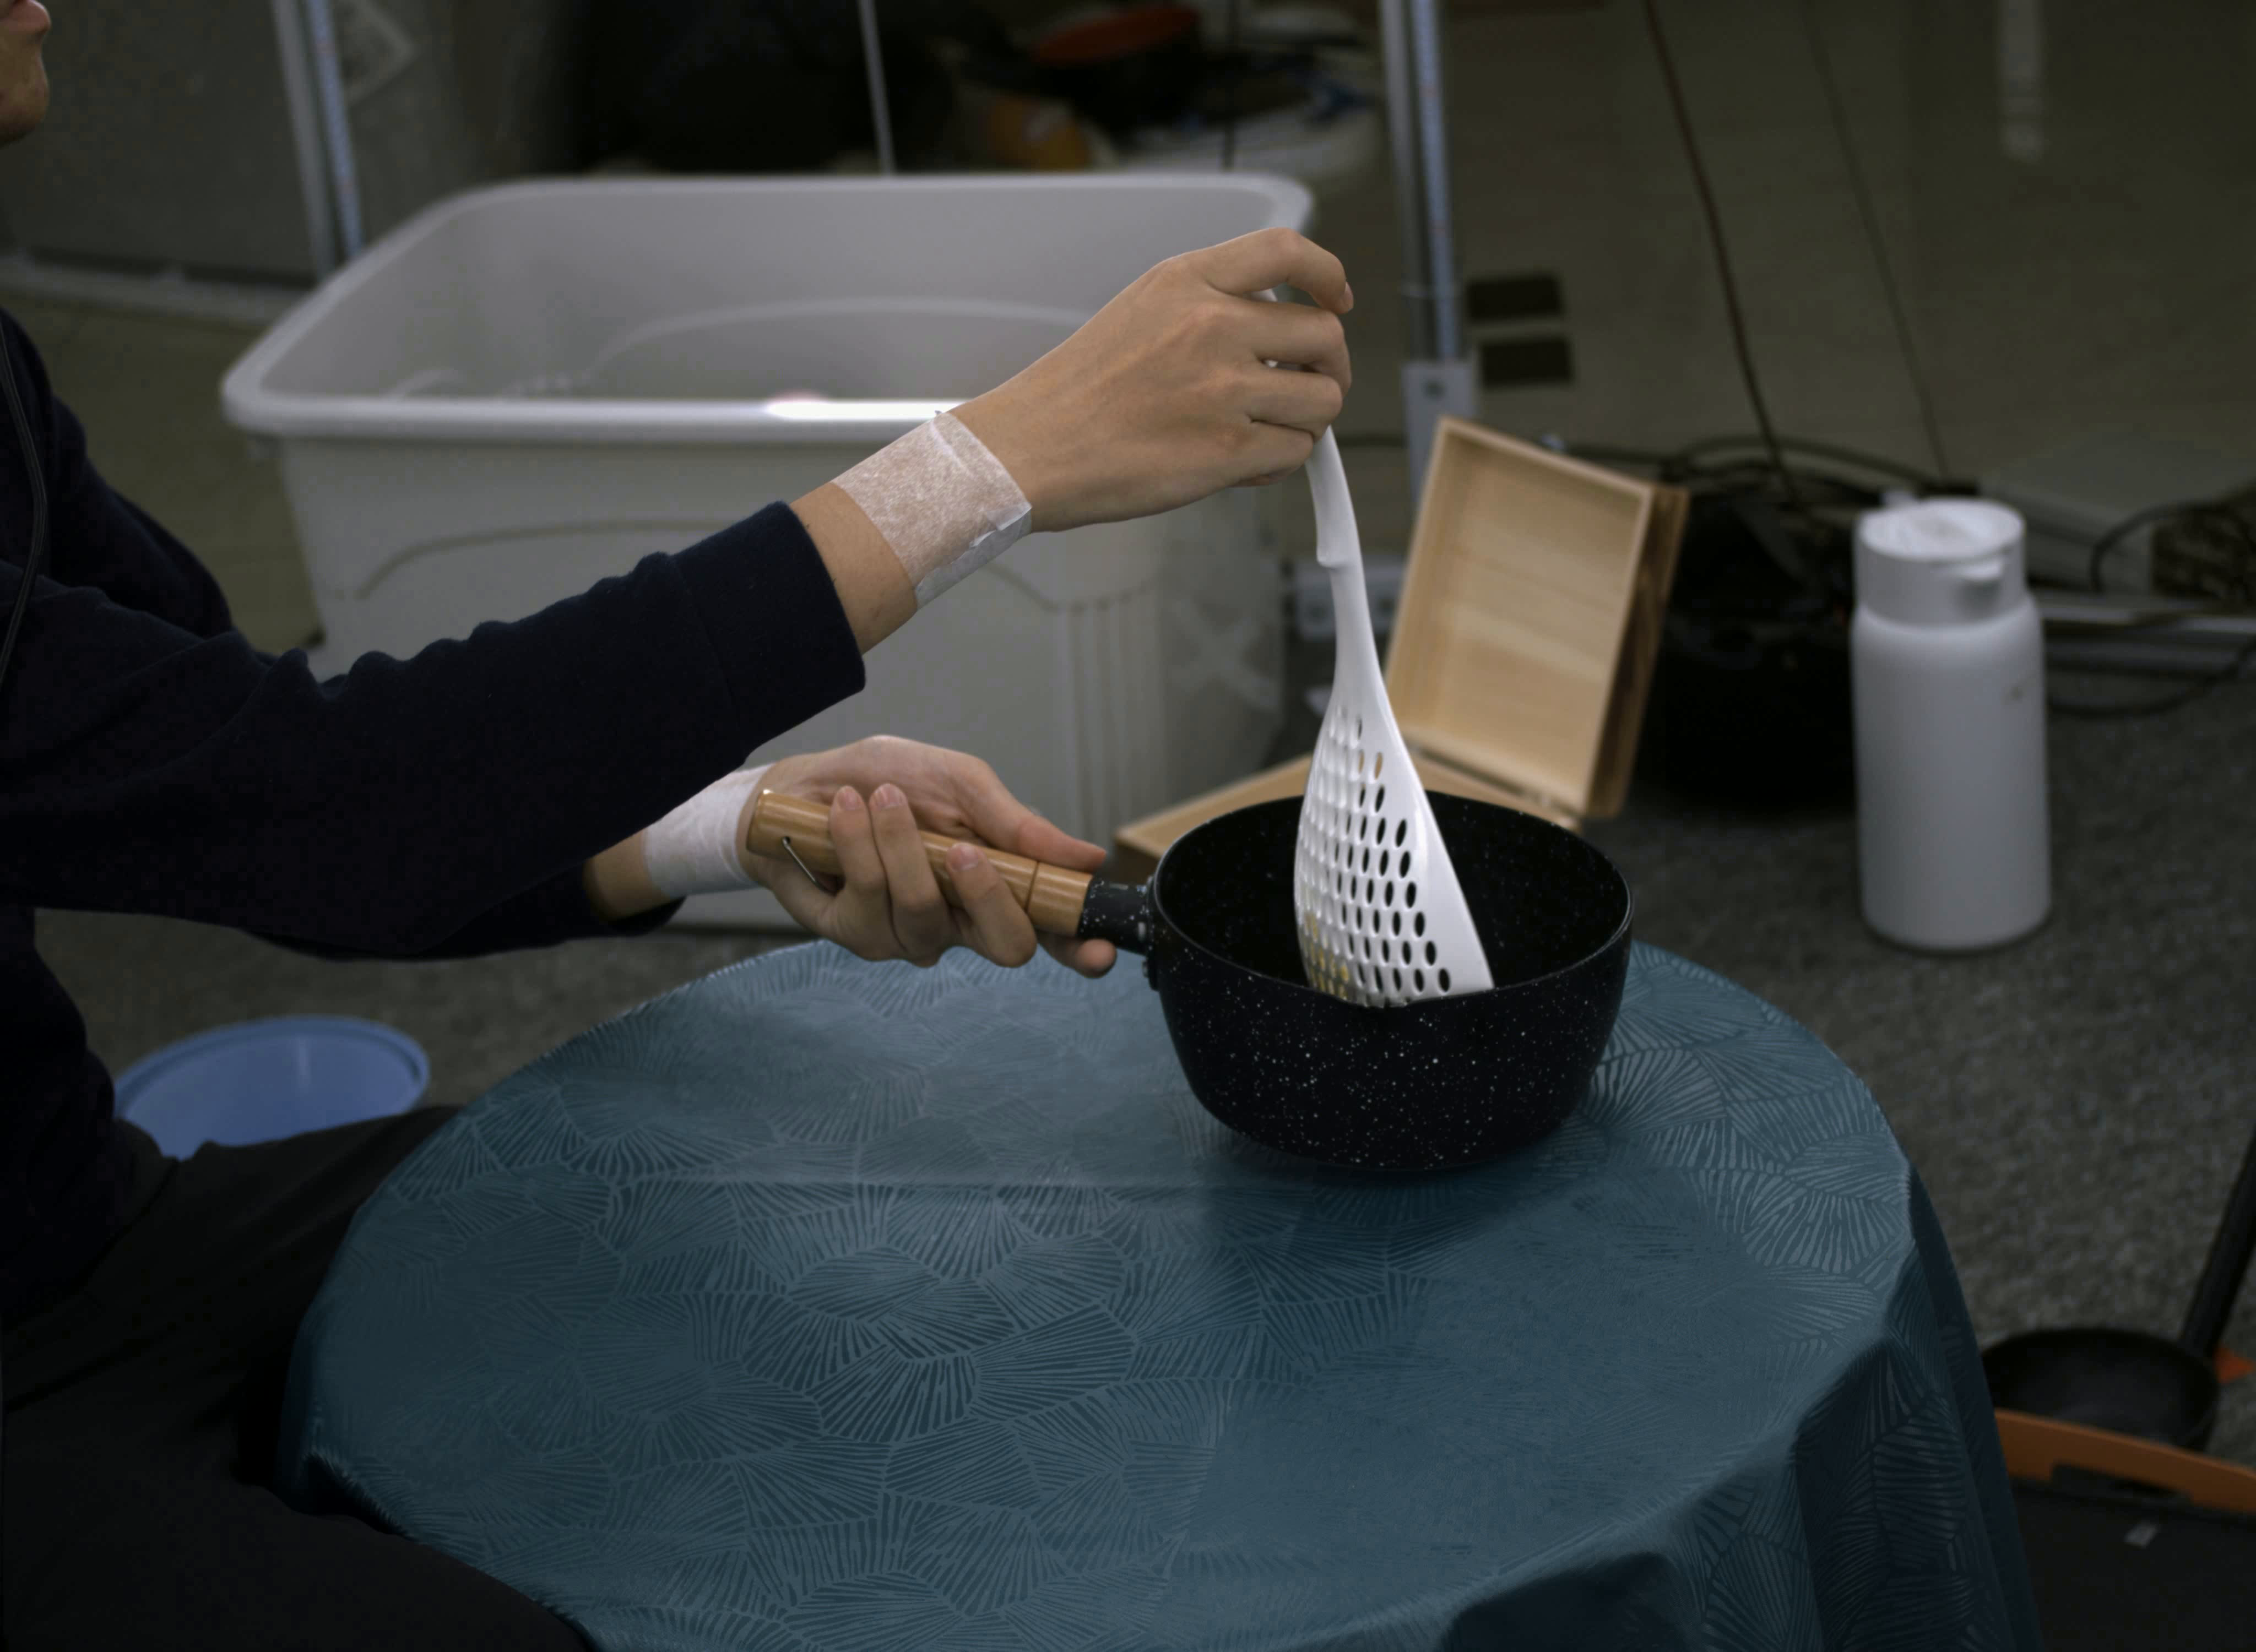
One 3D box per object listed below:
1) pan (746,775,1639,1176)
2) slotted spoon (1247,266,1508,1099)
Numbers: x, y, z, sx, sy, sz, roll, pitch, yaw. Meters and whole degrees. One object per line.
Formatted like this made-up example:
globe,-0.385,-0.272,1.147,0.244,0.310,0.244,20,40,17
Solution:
pan,0.022,0.047,2.170,0.342,0.110,0.204,4,26,4
slotted spoon,0.078,-0.047,2.085,0.050,0.353,0.135,-17,27,-21
